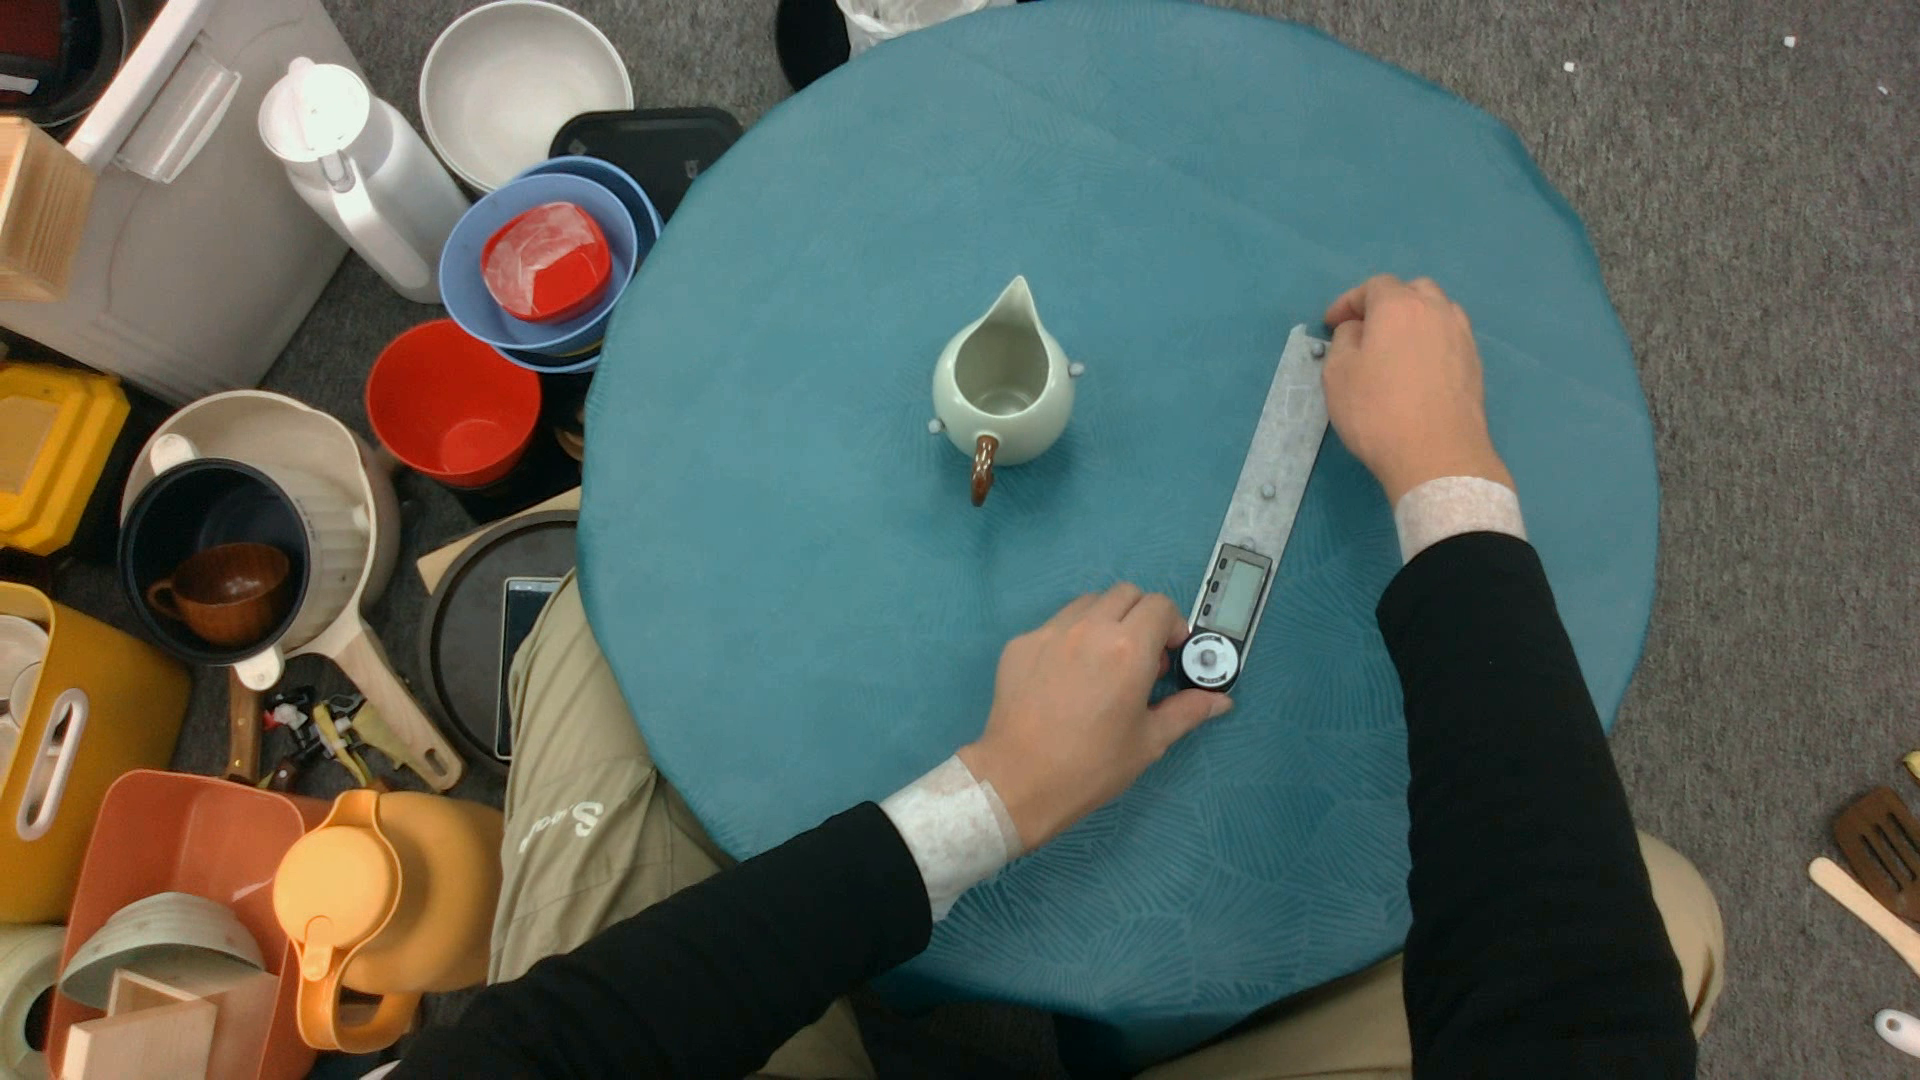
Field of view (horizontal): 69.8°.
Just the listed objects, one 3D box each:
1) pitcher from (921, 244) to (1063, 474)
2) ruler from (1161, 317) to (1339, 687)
[{"bbox_3d":[0.015,-0.085,0.738,0.076,0.087,0.119,14,74,9],"label":"pitcher"},{"bbox_3d":[0.158,-0.024,0.748,0.038,0.024,0.218,20,78,7],"label":"ruler"}]
